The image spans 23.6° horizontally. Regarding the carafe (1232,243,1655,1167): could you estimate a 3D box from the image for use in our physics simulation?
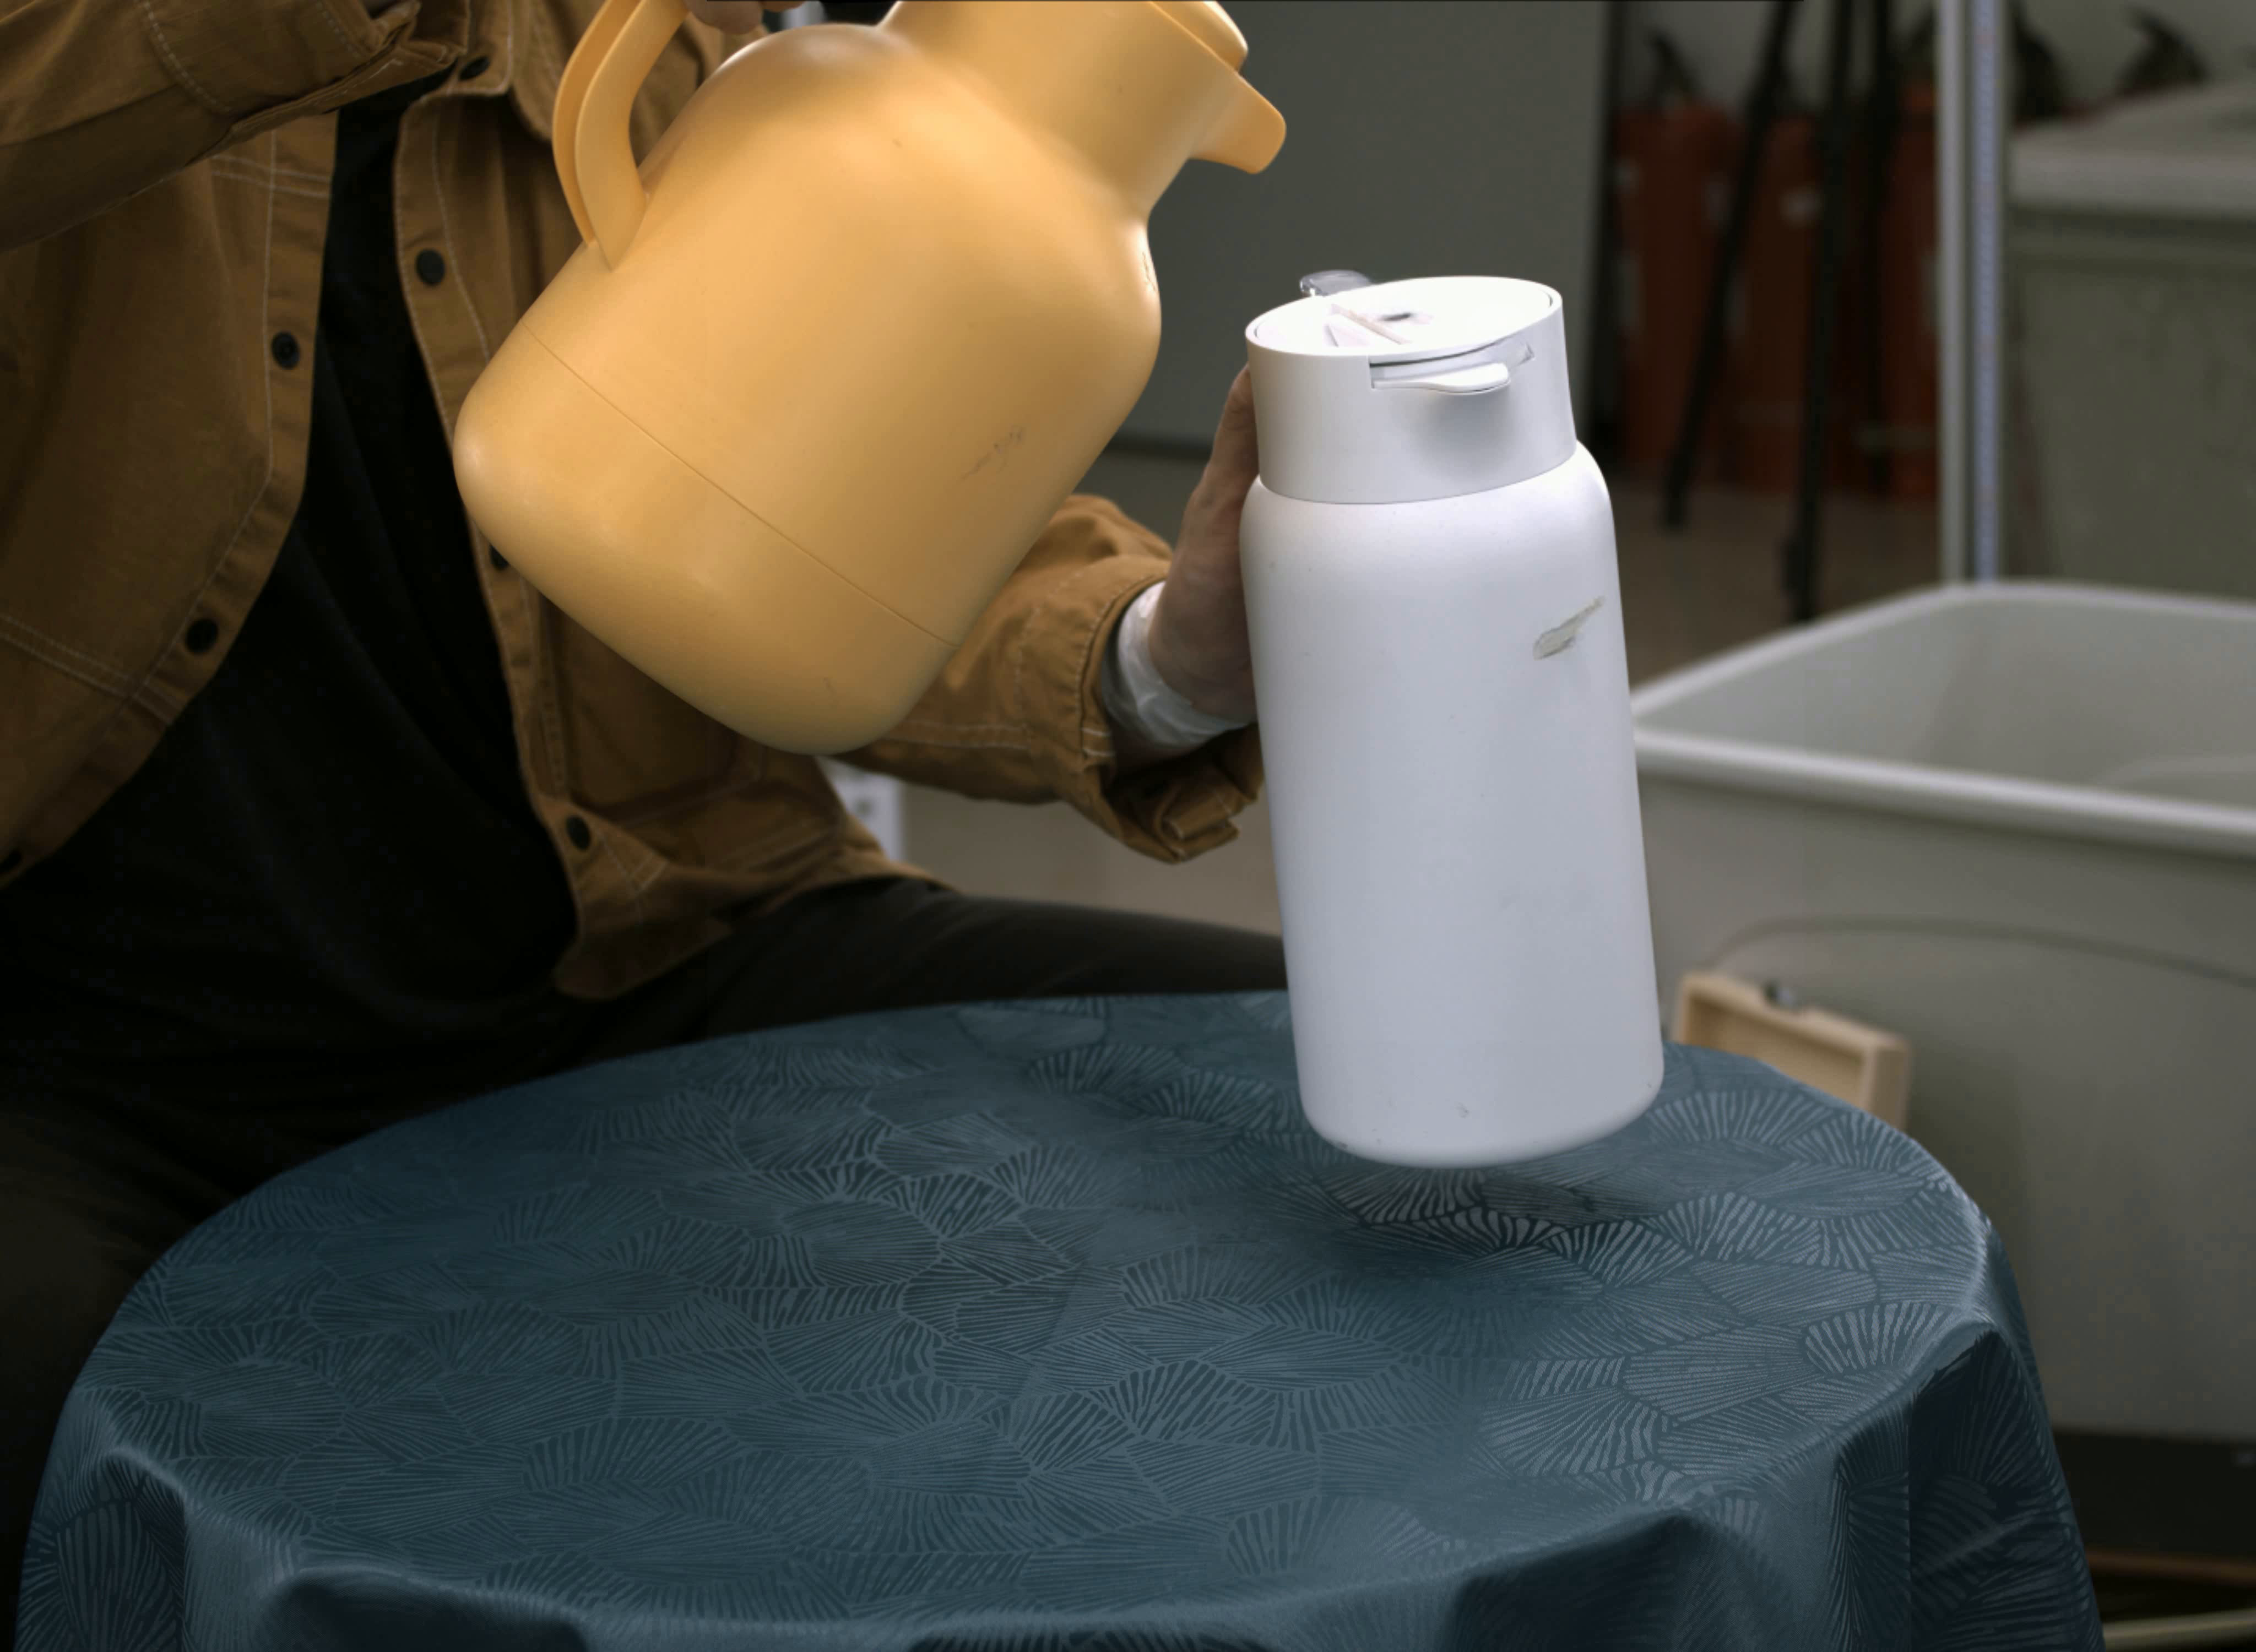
[{"bbox_3d":[0.090,-0.041,1.698,0.121,0.271,0.174,-14,18,-14],"label":"carafe"}]

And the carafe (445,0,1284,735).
[{"bbox_3d":[-0.087,-0.177,1.590,0.200,0.261,0.165,37,1,-26],"label":"carafe"}]
